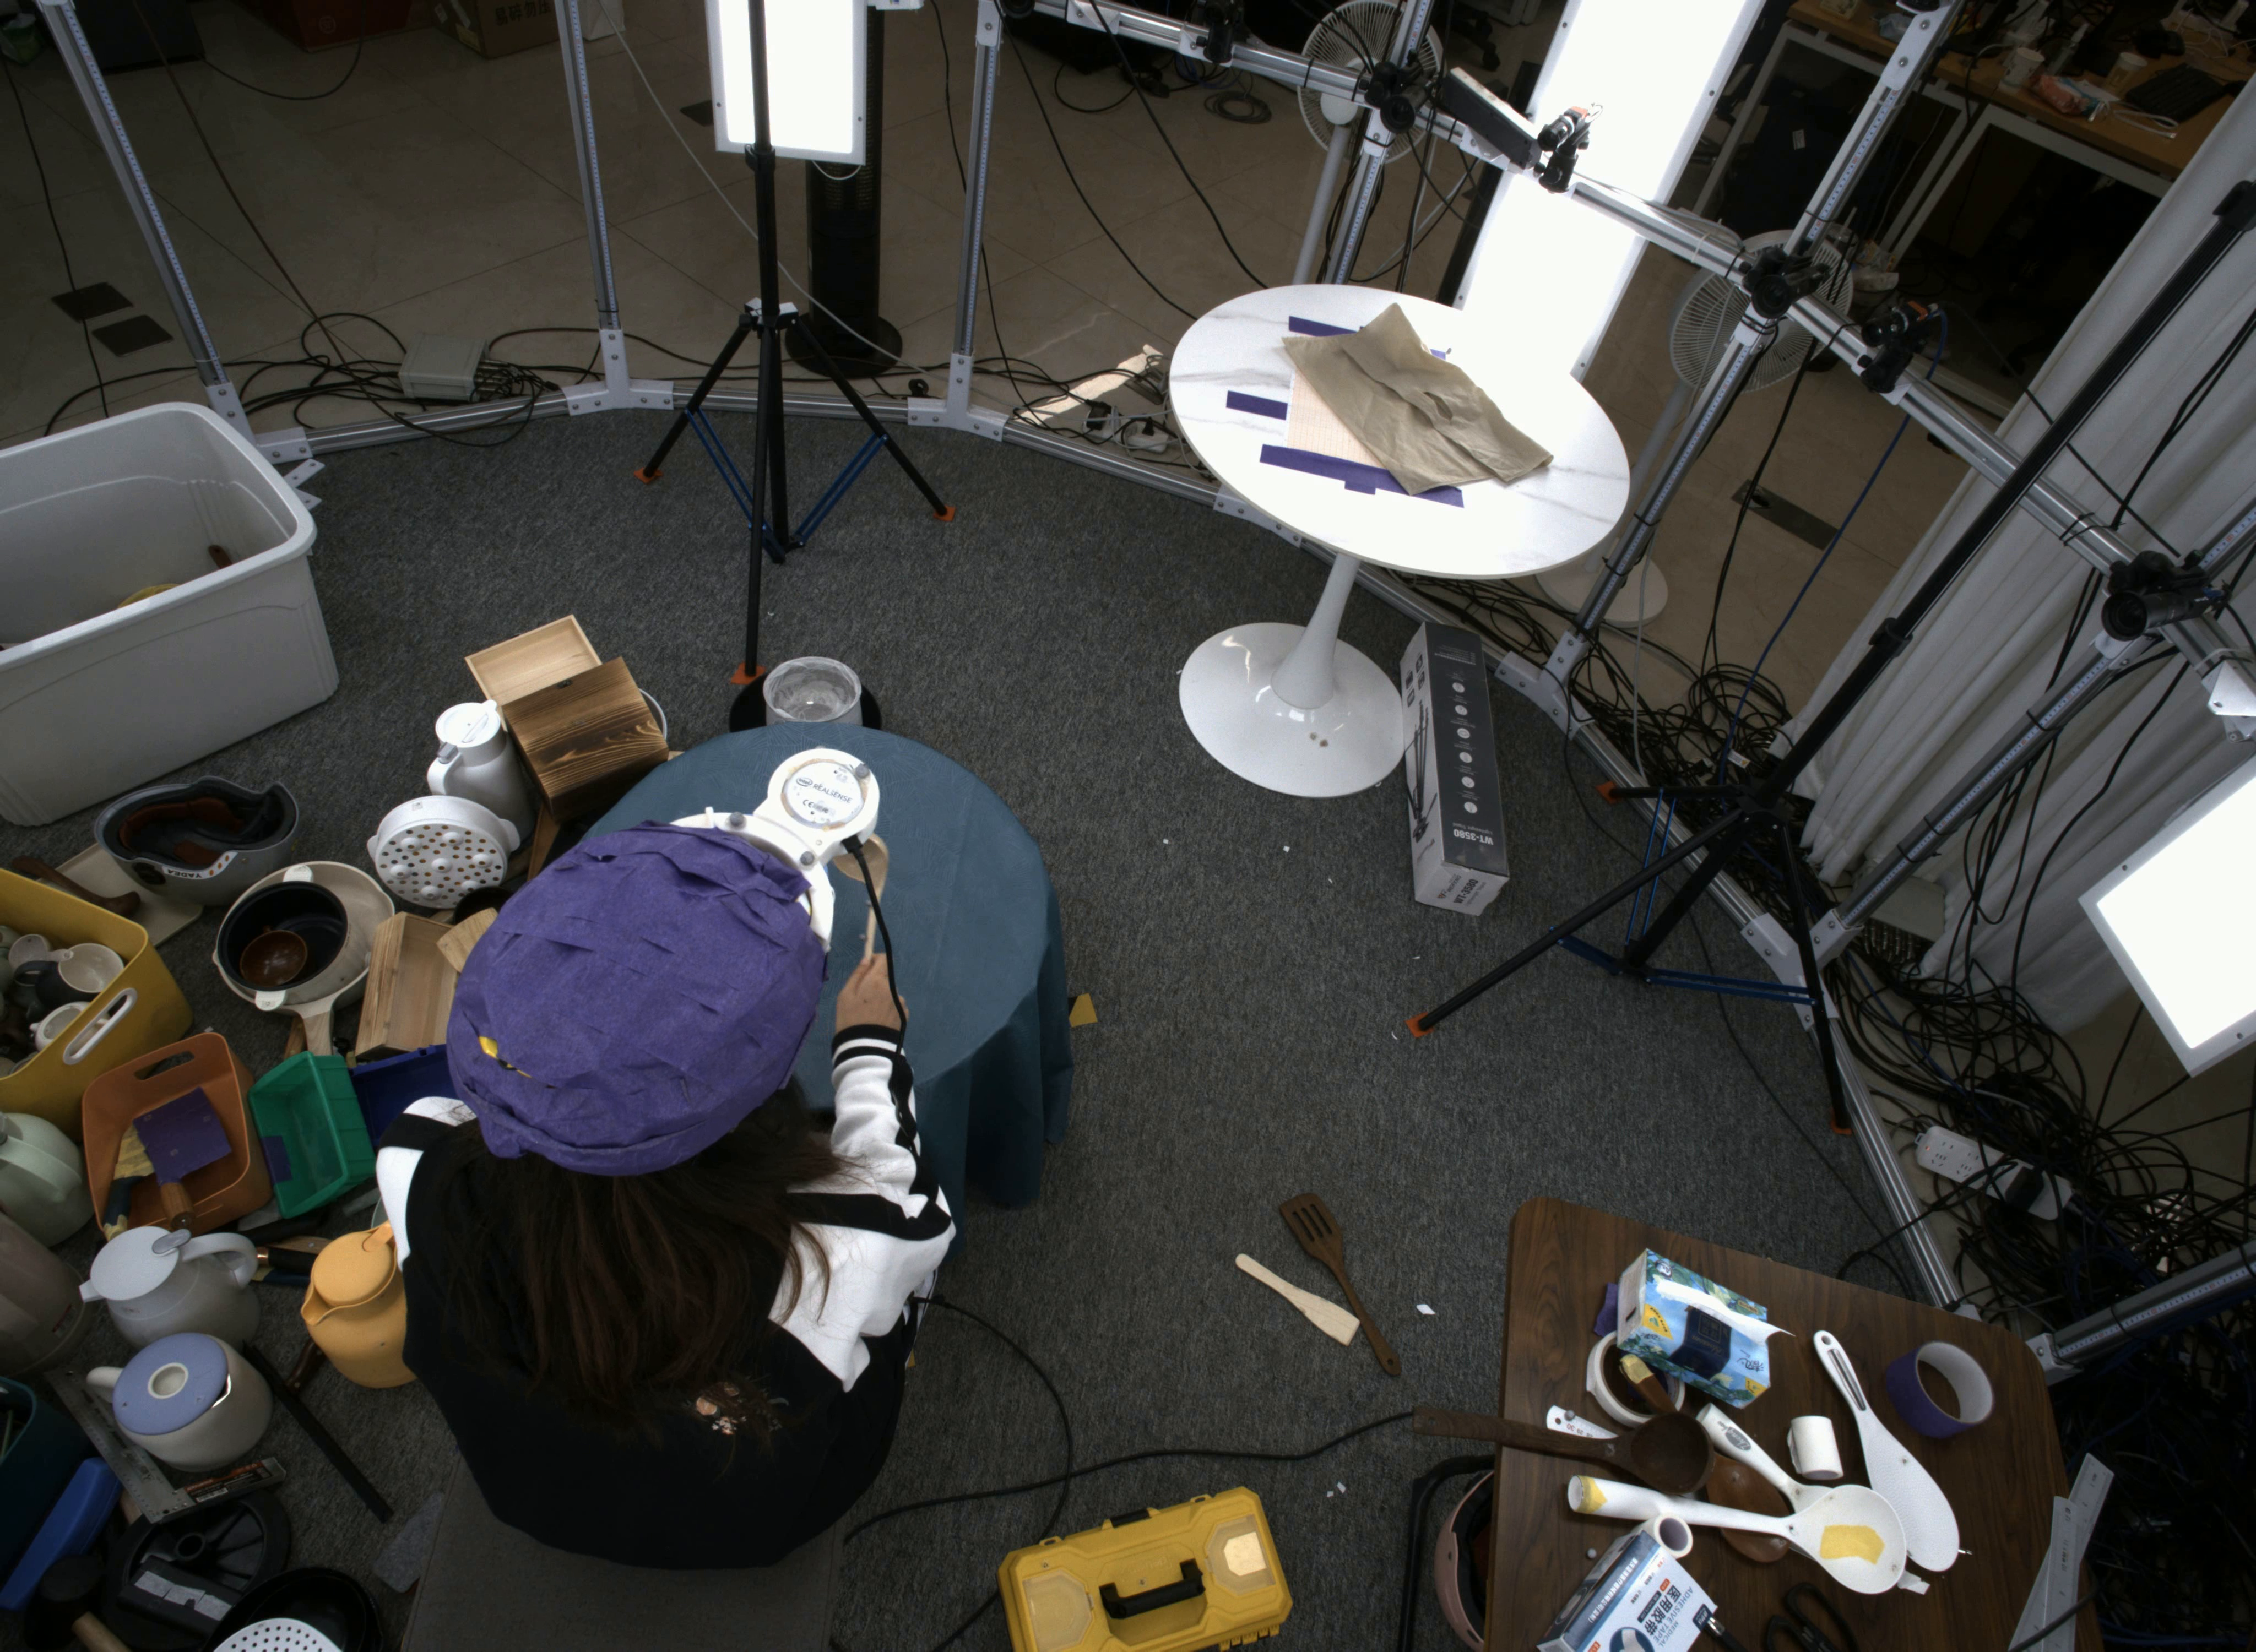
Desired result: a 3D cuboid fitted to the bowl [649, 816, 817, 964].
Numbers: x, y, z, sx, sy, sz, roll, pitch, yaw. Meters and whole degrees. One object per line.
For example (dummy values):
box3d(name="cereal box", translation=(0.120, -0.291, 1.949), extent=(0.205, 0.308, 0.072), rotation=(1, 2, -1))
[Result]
box3d(name="bowl", translation=(-0.477, 0.092, 1.573), extent=(0.196, 0.097, 0.193), rotation=(8, 49, -7))

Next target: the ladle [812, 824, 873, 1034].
box3d(name="ladle", translation=(-0.331, 0.112, 1.496), extent=(0.075, 0.071, 0.249), rotation=(31, 41, -44))
